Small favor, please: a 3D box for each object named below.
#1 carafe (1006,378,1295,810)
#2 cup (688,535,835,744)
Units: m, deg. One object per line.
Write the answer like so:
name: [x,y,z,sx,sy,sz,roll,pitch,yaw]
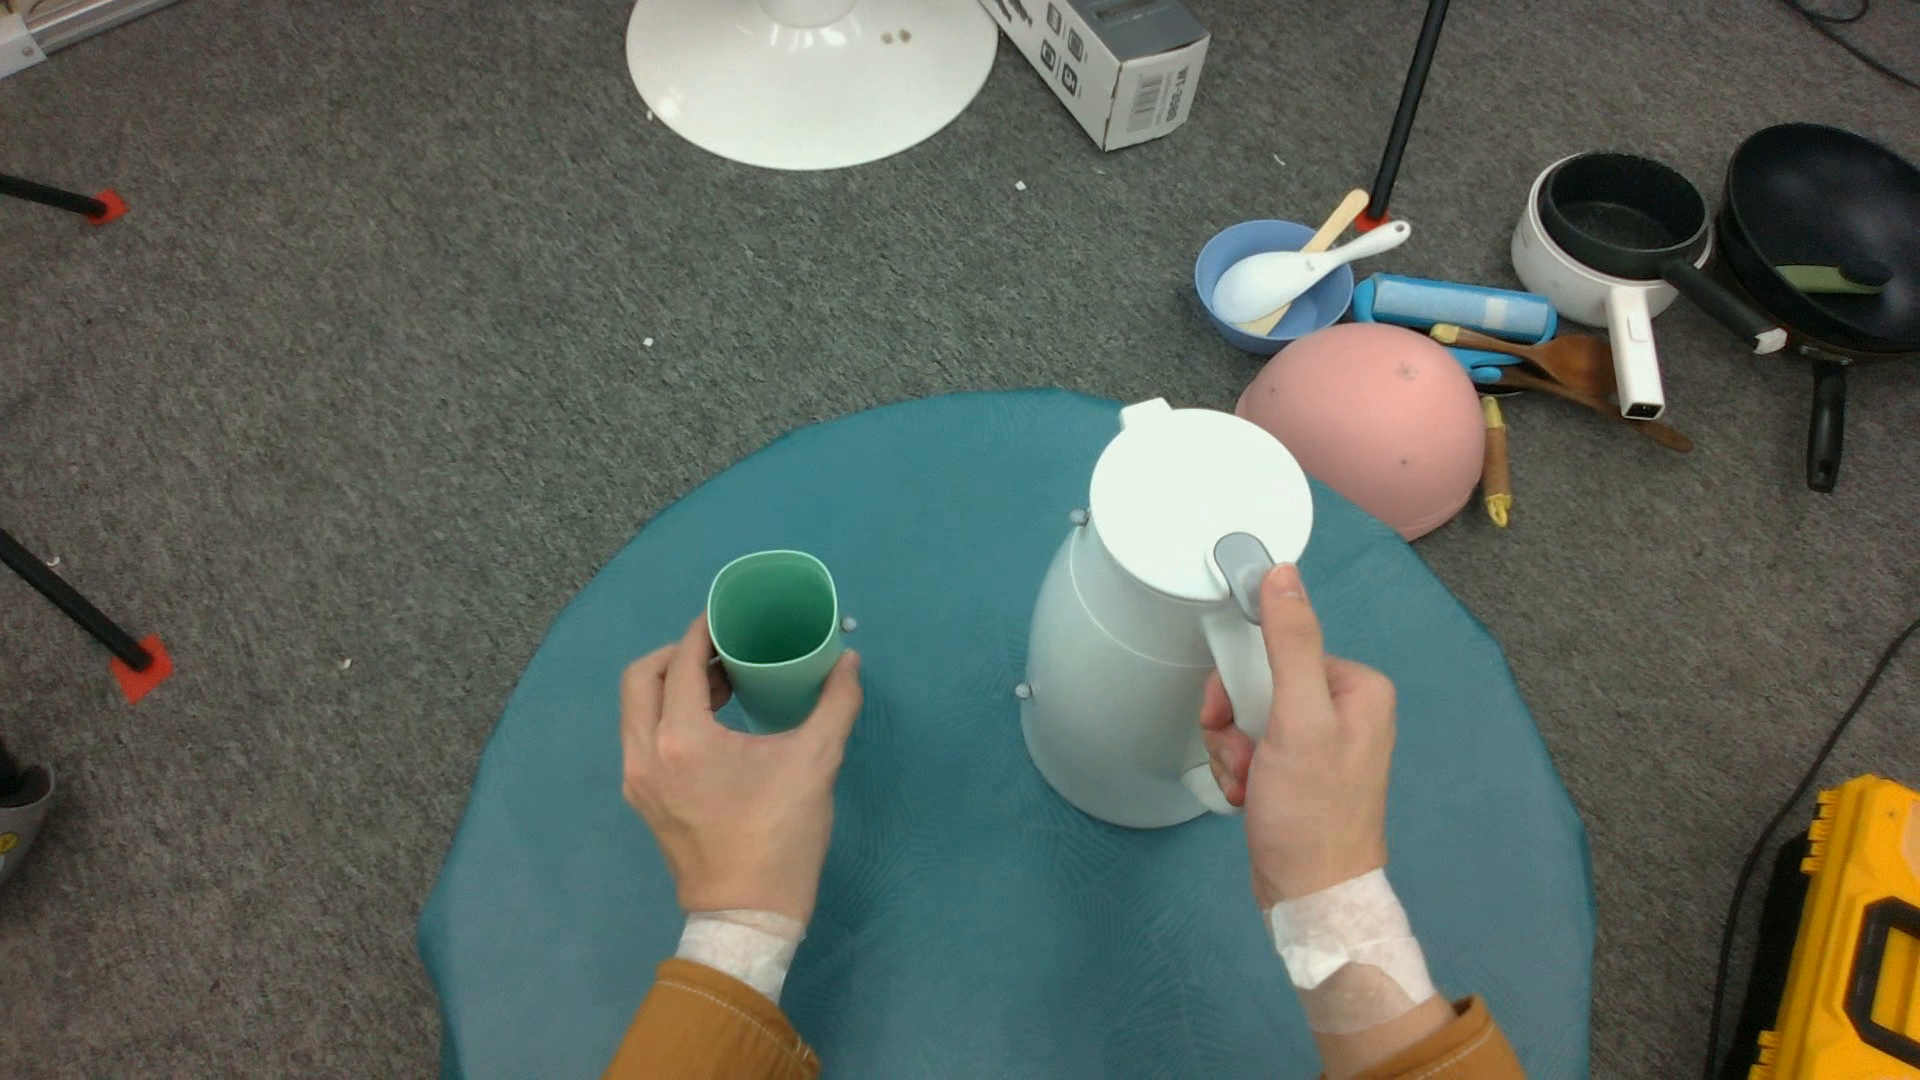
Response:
carafe: [0.100,0.046,0.659,0.133,0.247,0.168,-18,64,-10]
cup: [-0.100,0.057,0.719,0.067,0.132,0.067,0,61,0]
